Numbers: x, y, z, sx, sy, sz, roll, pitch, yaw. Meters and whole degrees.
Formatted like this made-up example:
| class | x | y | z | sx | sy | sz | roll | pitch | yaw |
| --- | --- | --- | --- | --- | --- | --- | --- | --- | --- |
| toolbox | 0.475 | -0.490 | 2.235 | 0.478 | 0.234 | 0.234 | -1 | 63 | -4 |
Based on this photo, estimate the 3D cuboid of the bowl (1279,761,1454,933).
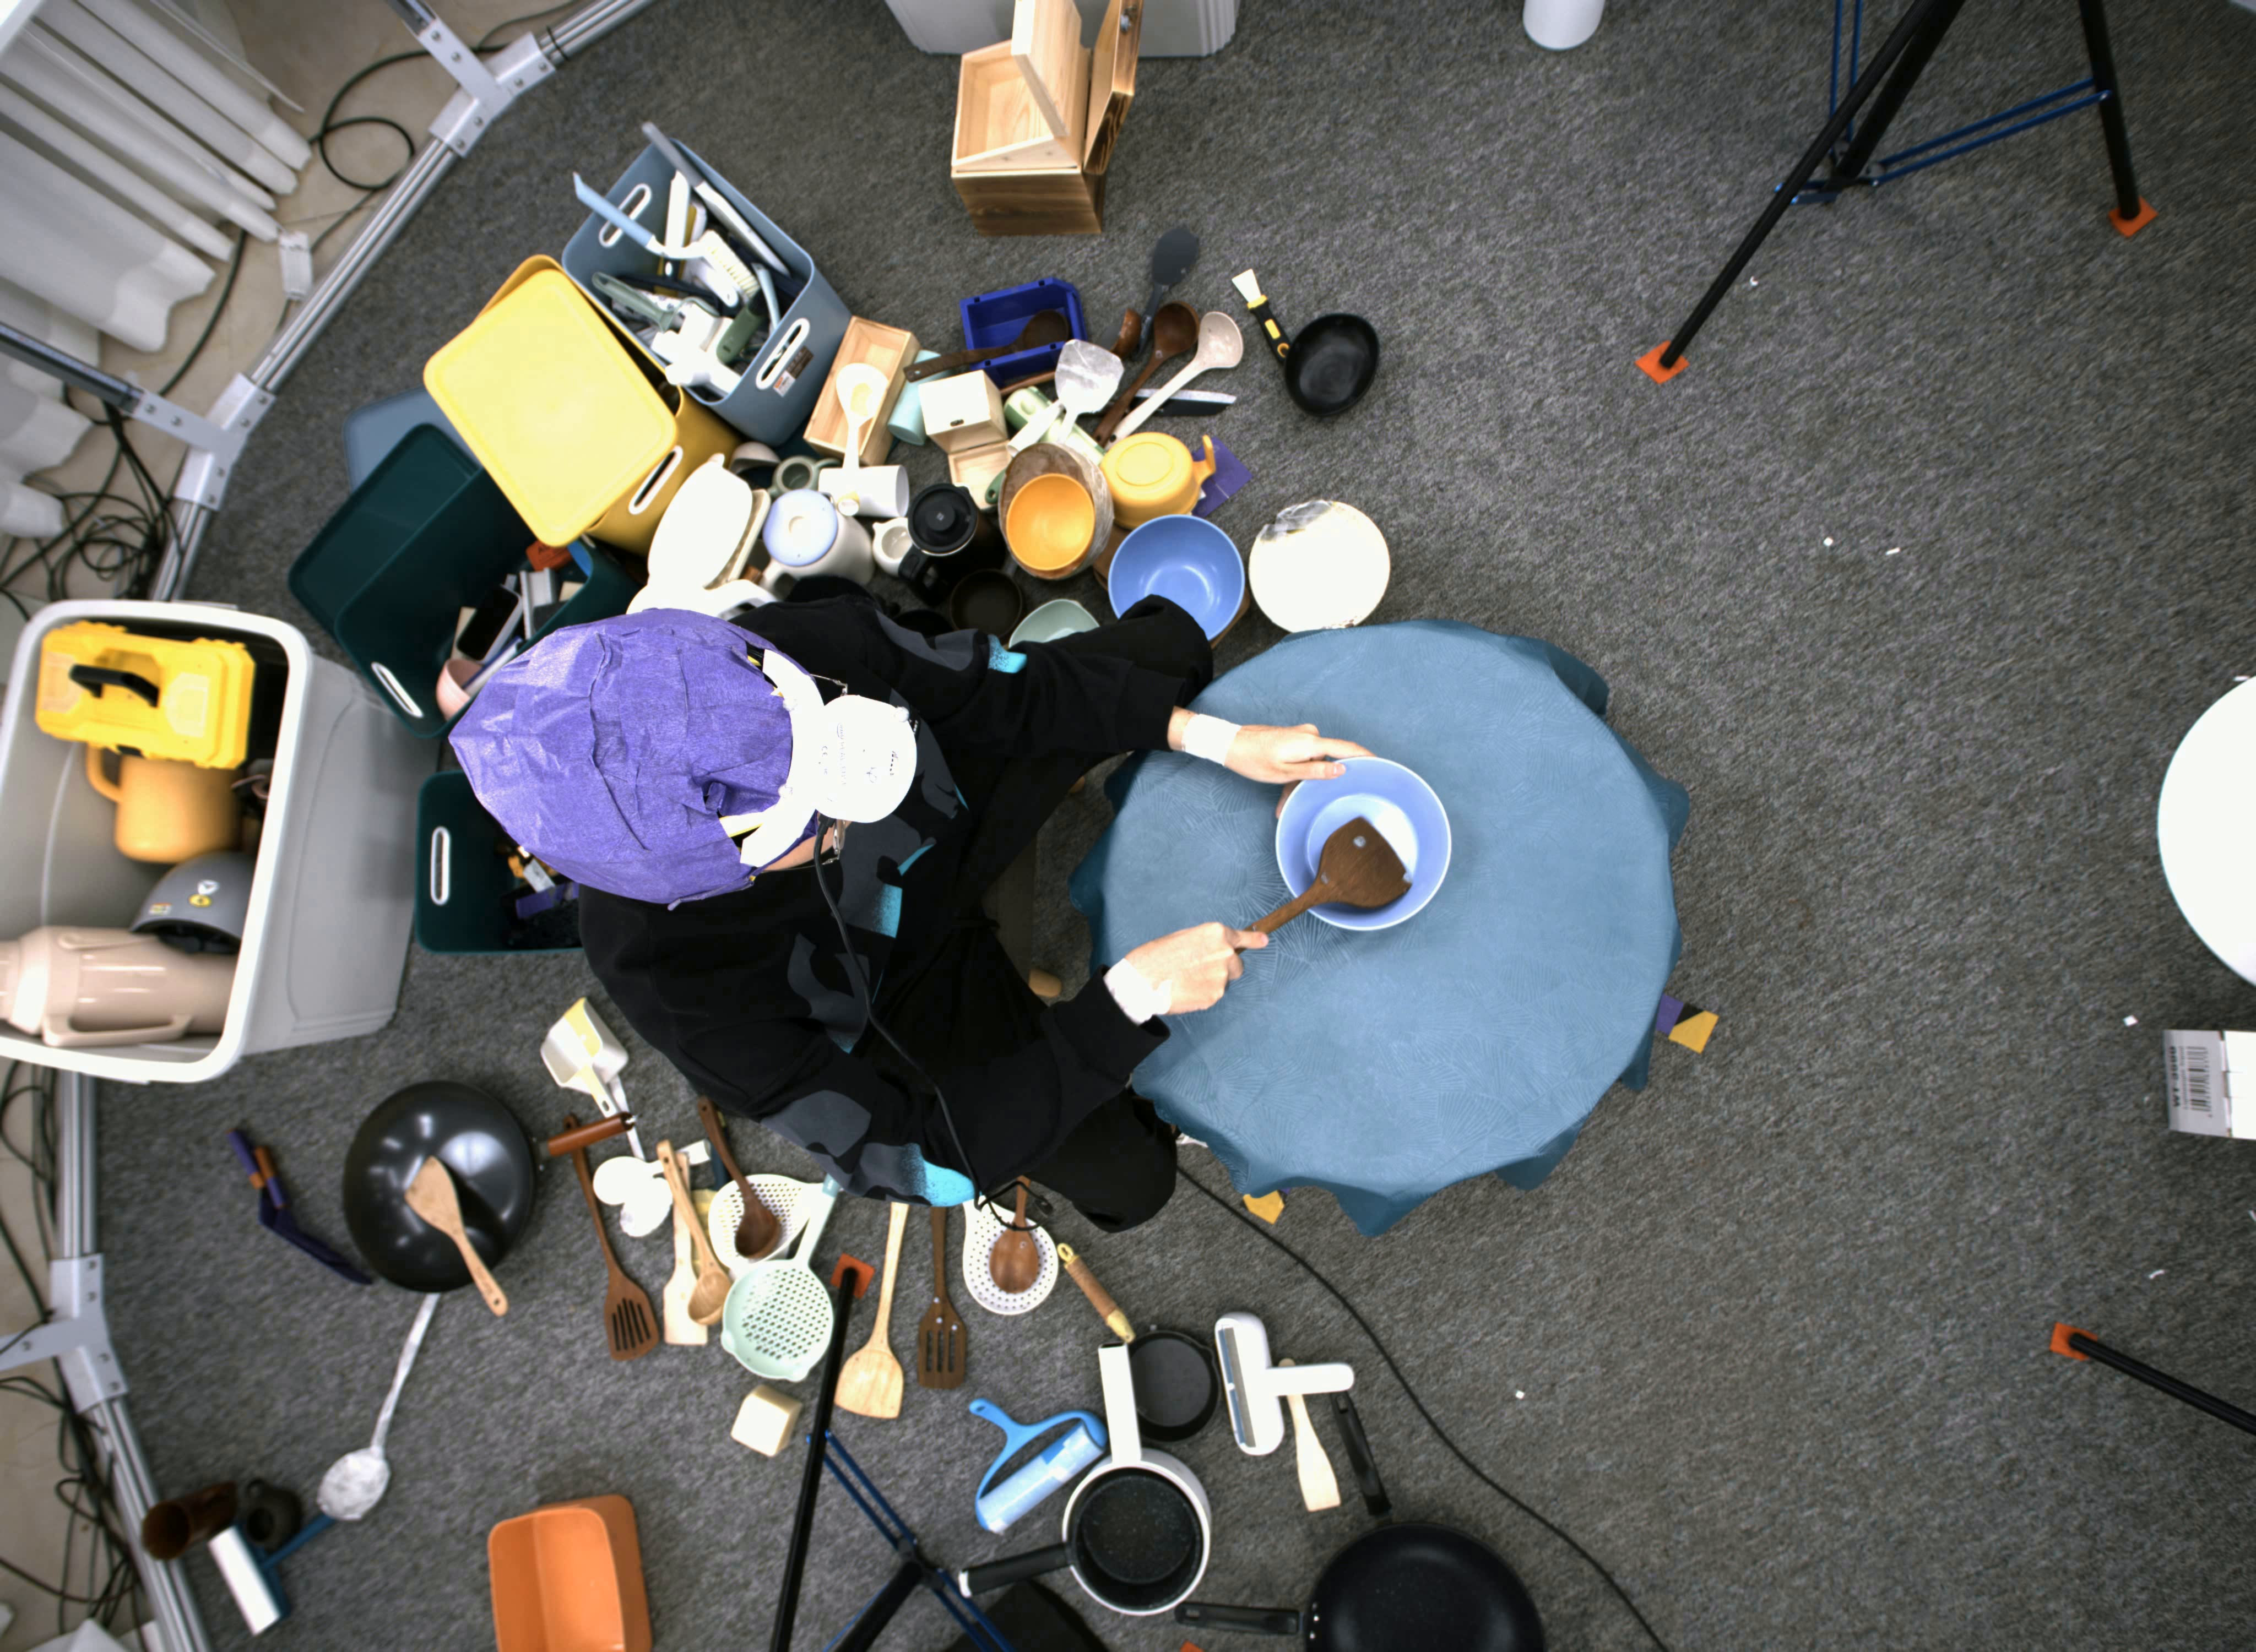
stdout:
| class | x | y | z | sx | sy | sz | roll | pitch | yaw |
| --- | --- | --- | --- | --- | --- | --- | --- | --- | --- |
| bowl | 0.245 | 0.023 | 1.426 | 0.177 | 0.070 | 0.175 | -1 | 87 | 9 |

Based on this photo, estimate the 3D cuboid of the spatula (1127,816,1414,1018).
| class | x | y | z | sx | sy | sz | roll | pitch | yaw |
| --- | --- | --- | --- | --- | --- | --- | --- | --- | --- |
| spatula | 0.142 | 0.093 | 1.341 | 0.379 | 0.016 | 0.095 | -27 | 80 | -35 |
